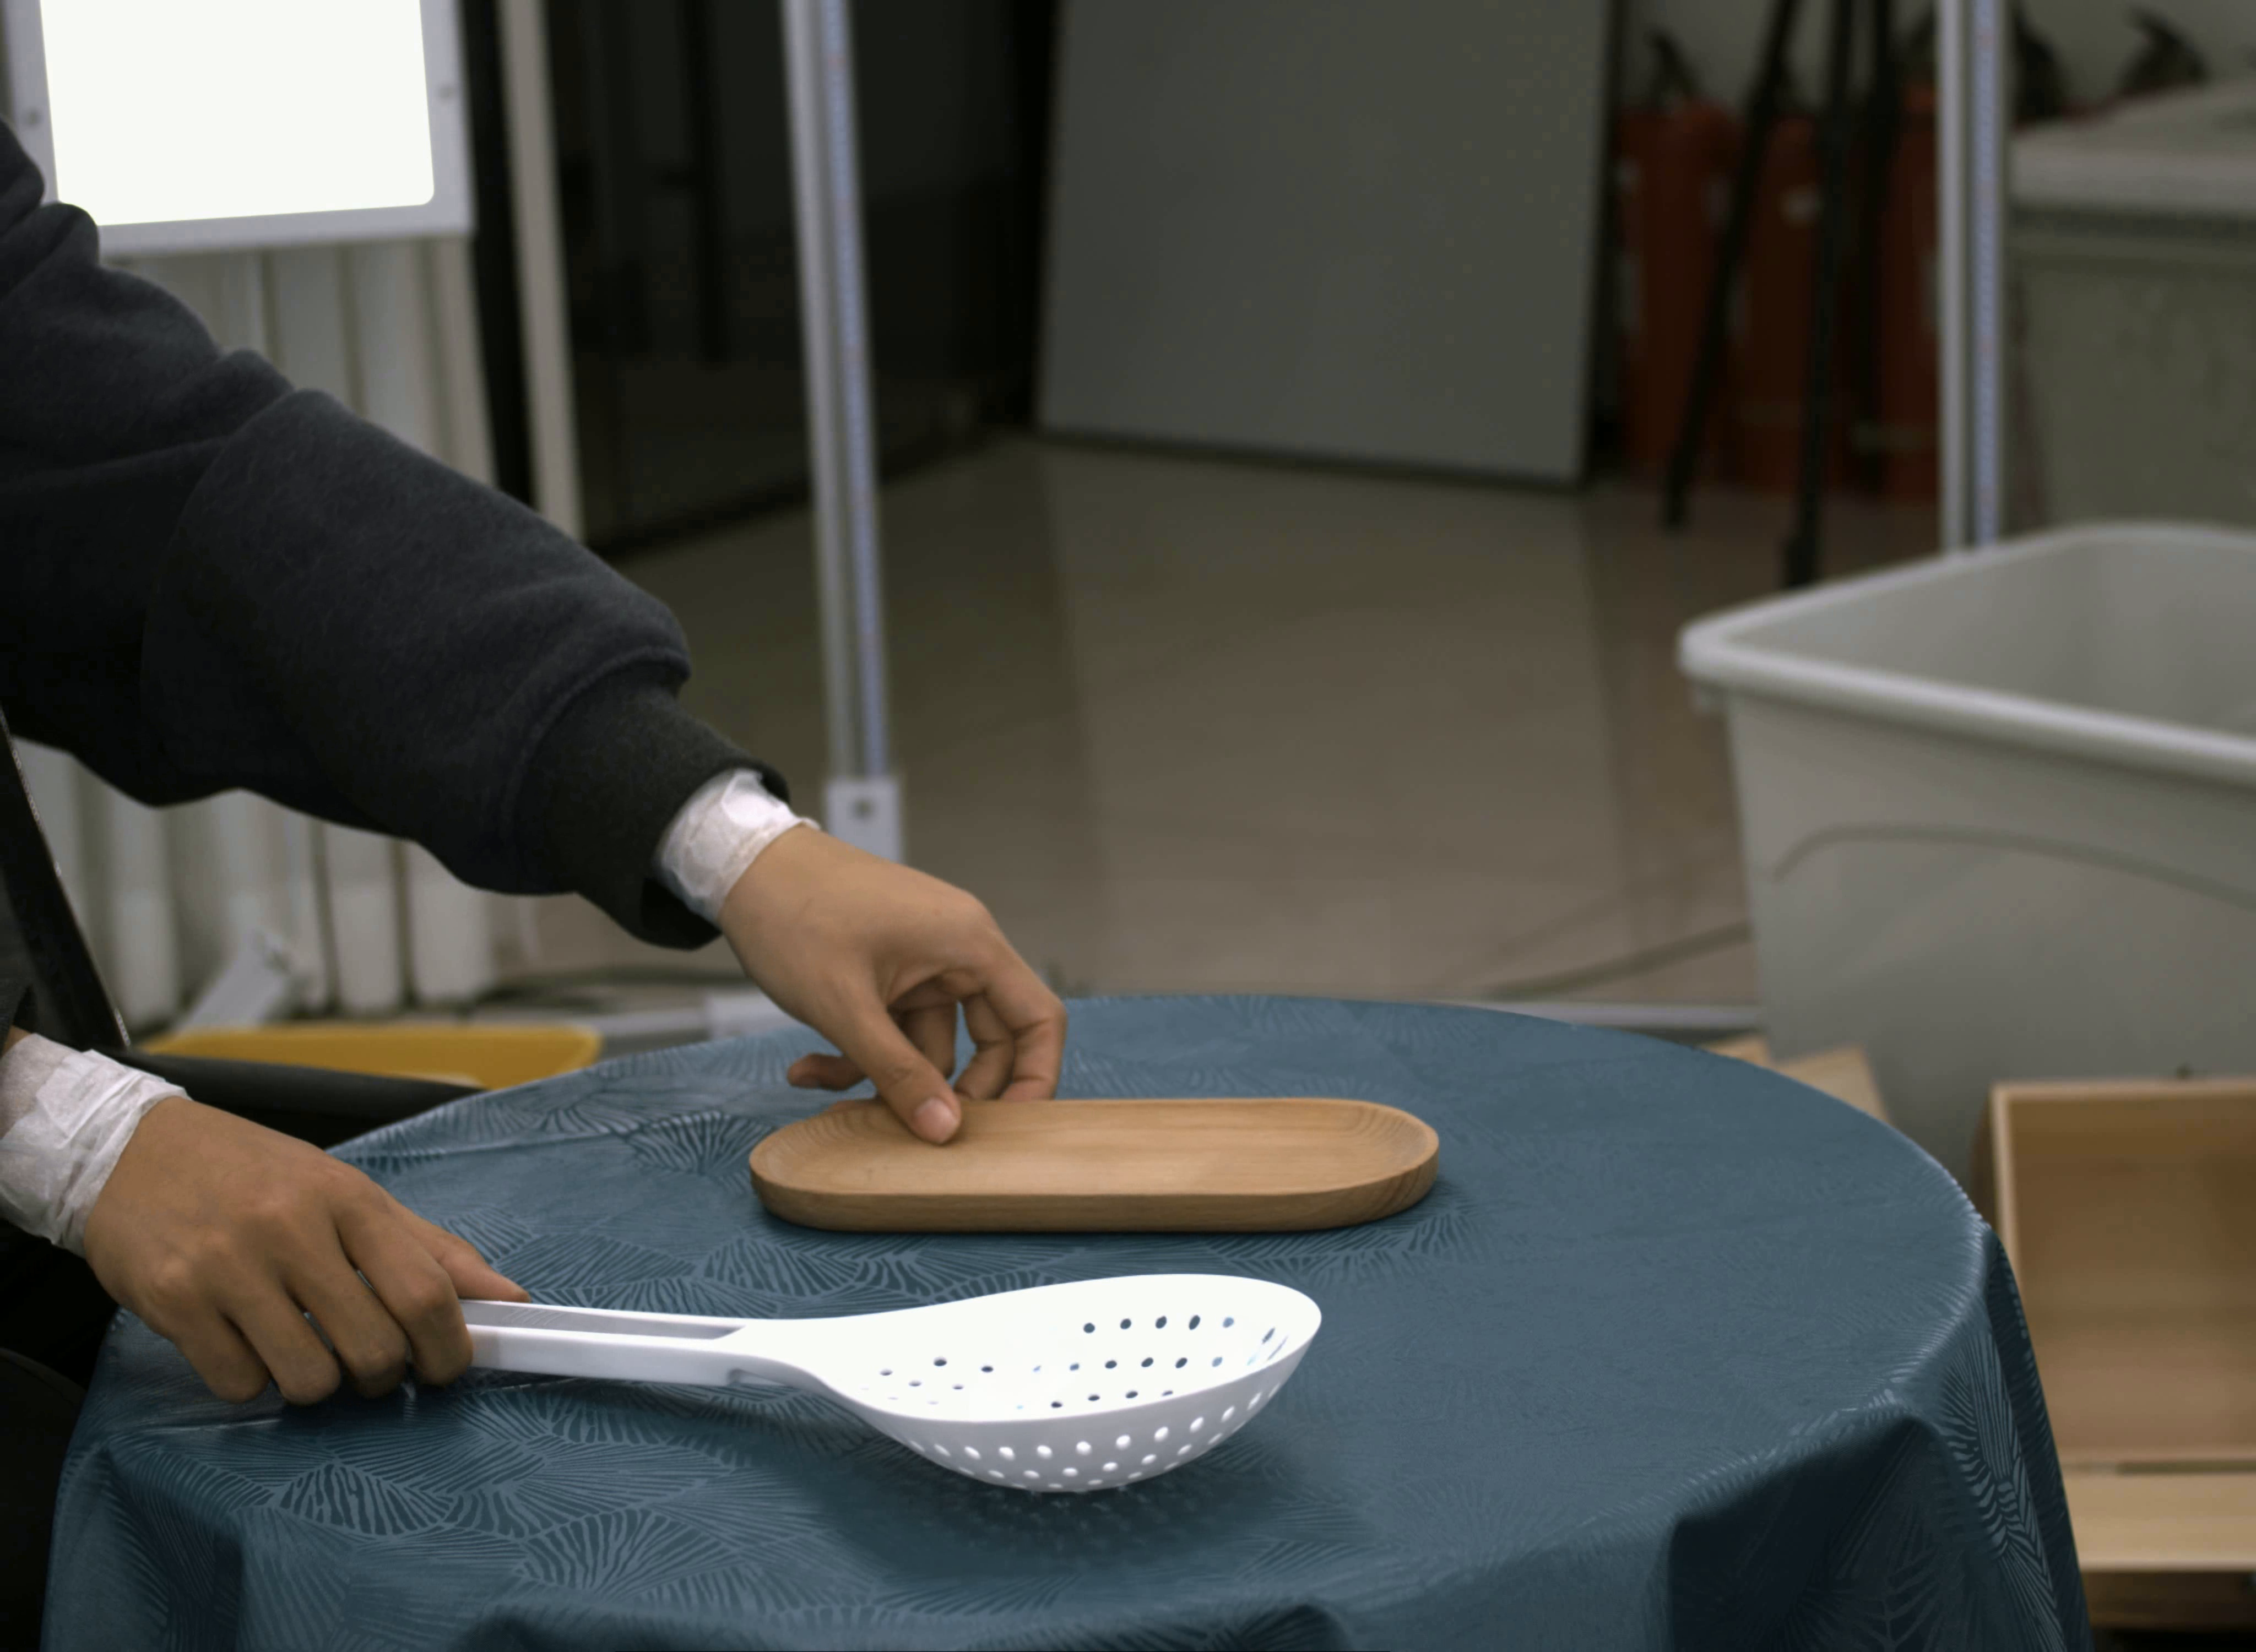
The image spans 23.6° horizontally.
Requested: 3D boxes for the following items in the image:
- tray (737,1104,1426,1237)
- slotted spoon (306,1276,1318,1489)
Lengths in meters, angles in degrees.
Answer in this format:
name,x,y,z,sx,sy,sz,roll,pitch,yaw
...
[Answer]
name,x,y,z,sx,sy,sz,roll,pitch,yaw
tray,-0.015,0.114,1.770,0.230,0.020,0.101,-2,13,12
slotted spoon,-0.102,0.153,1.570,0.351,0.046,0.134,4,13,33
